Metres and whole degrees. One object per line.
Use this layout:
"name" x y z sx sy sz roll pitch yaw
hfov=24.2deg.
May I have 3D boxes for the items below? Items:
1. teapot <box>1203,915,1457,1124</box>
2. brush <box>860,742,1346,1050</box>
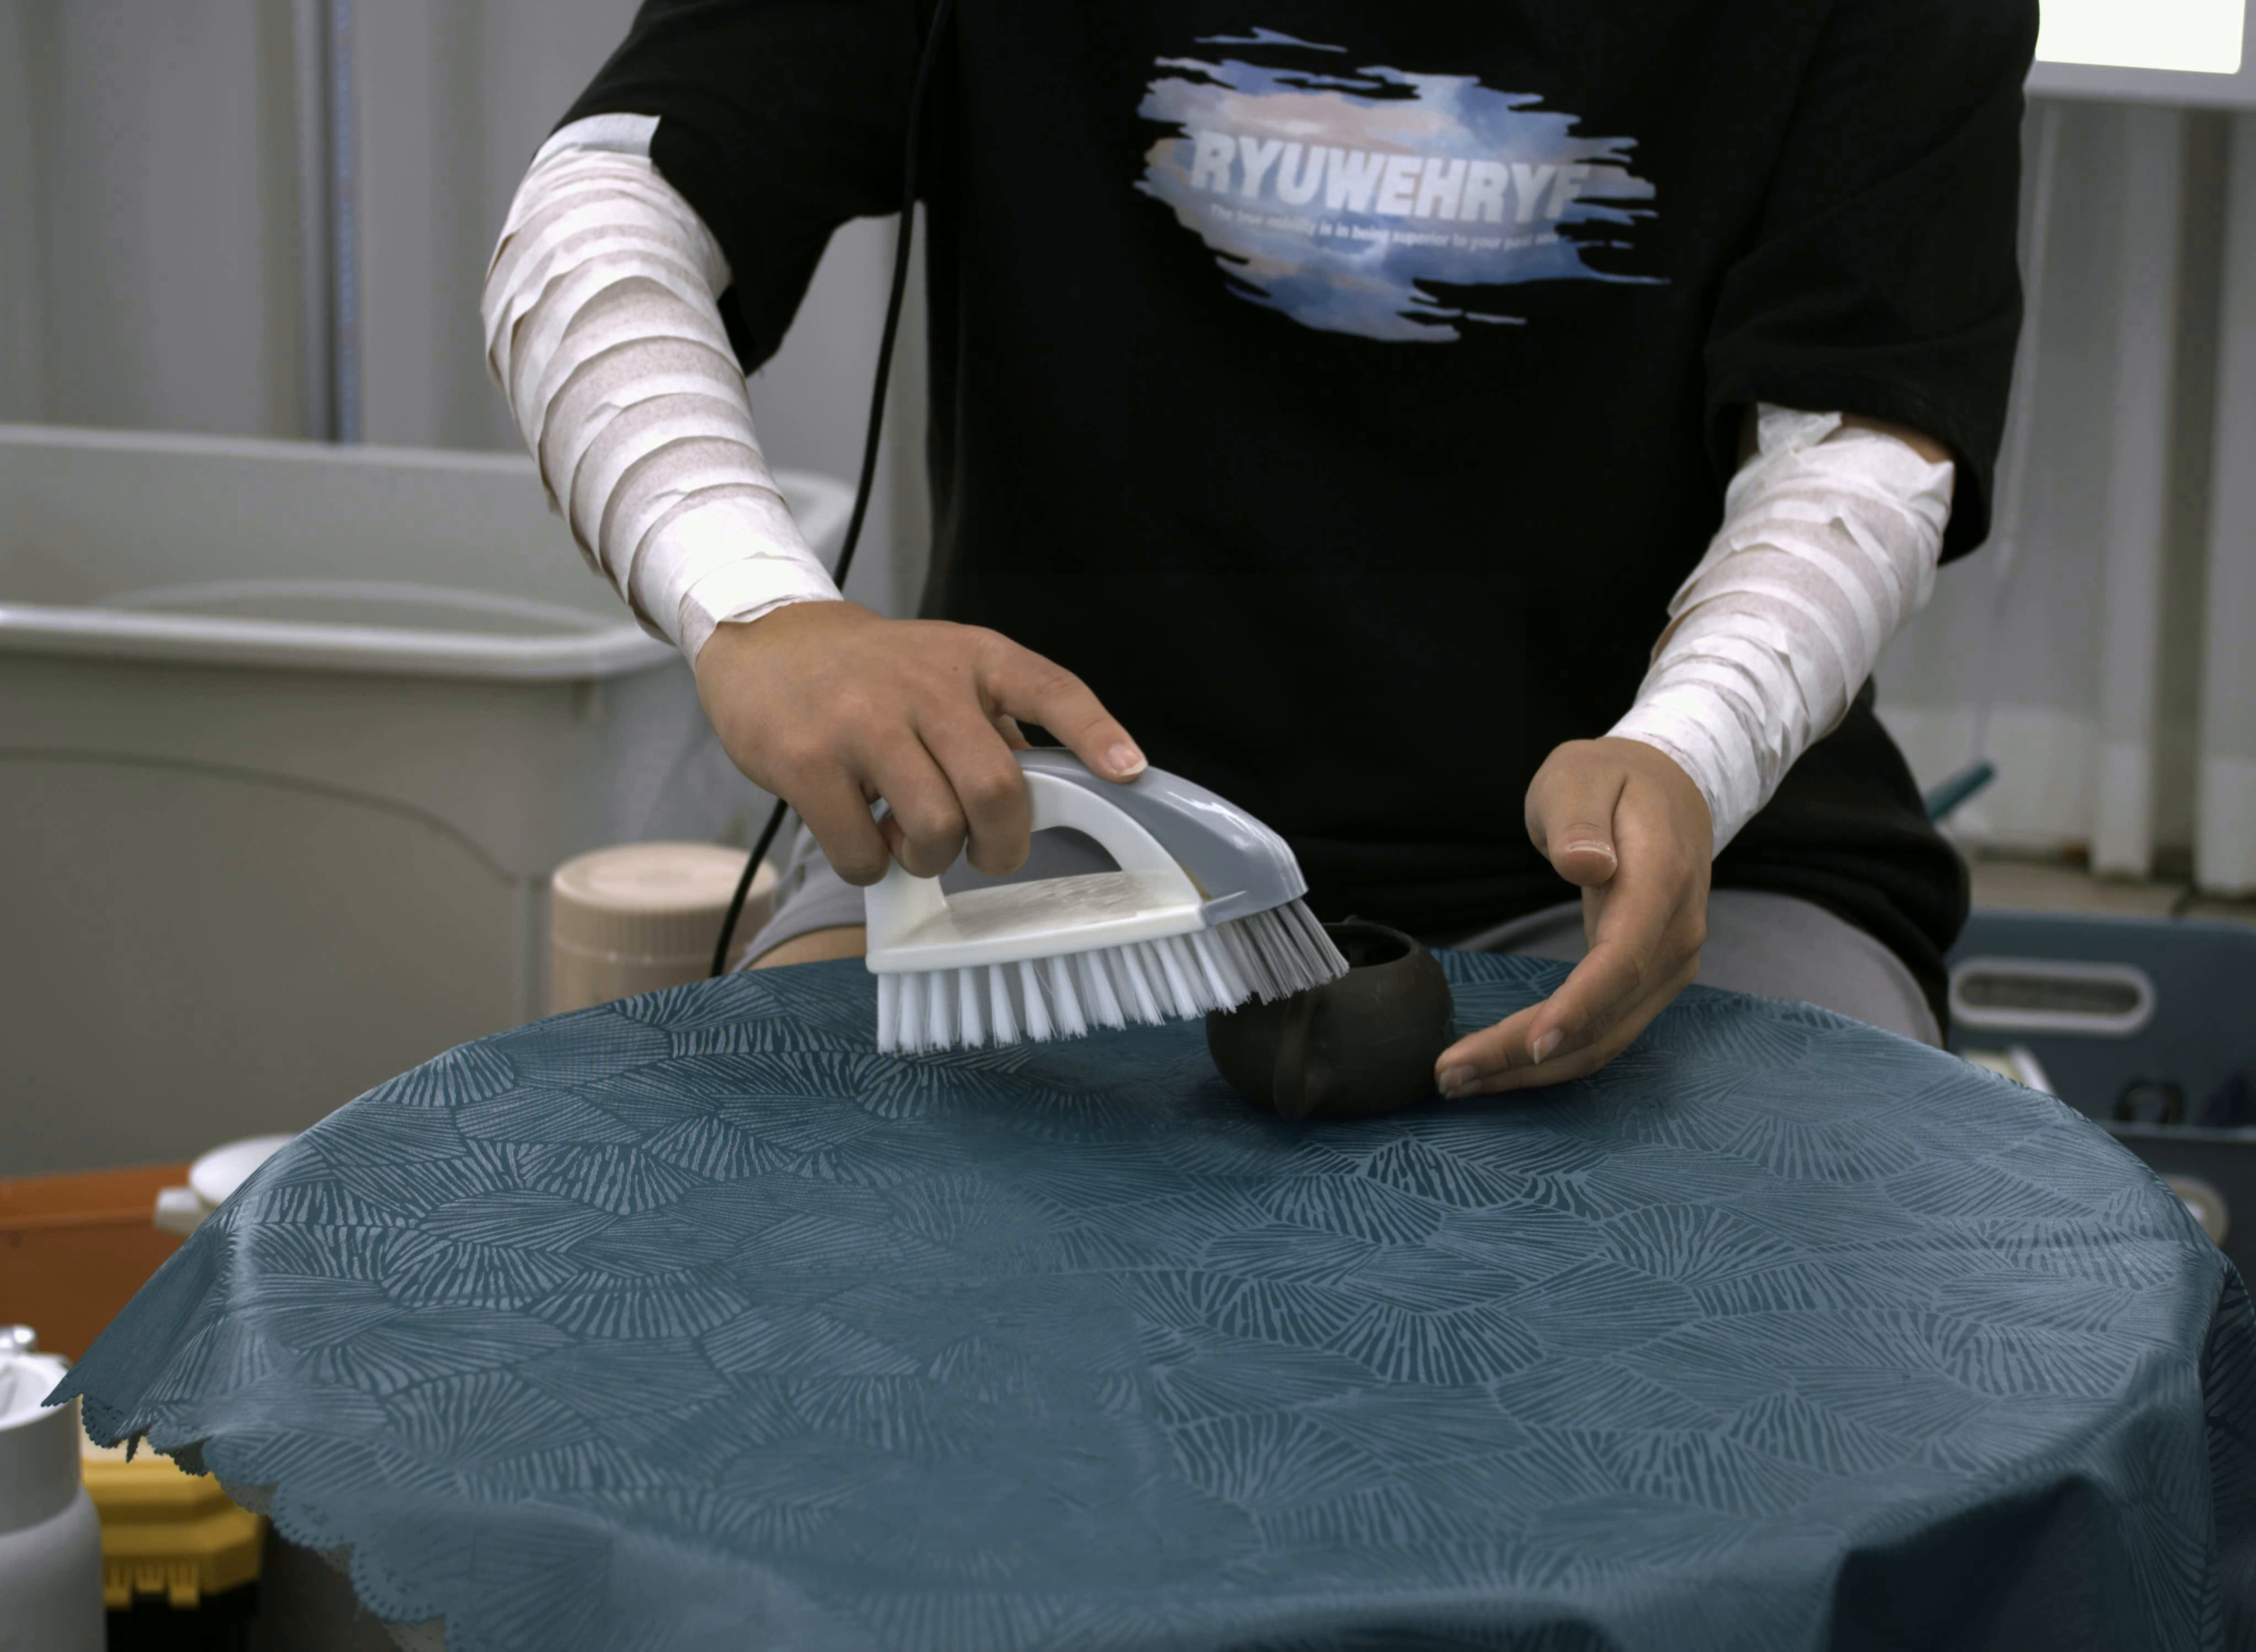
"teapot" 0.063 0.065 1.702 0.082 0.053 0.114 4 14 14
"brush" -0.014 0.016 1.688 0.173 0.095 0.061 -5 24 38
